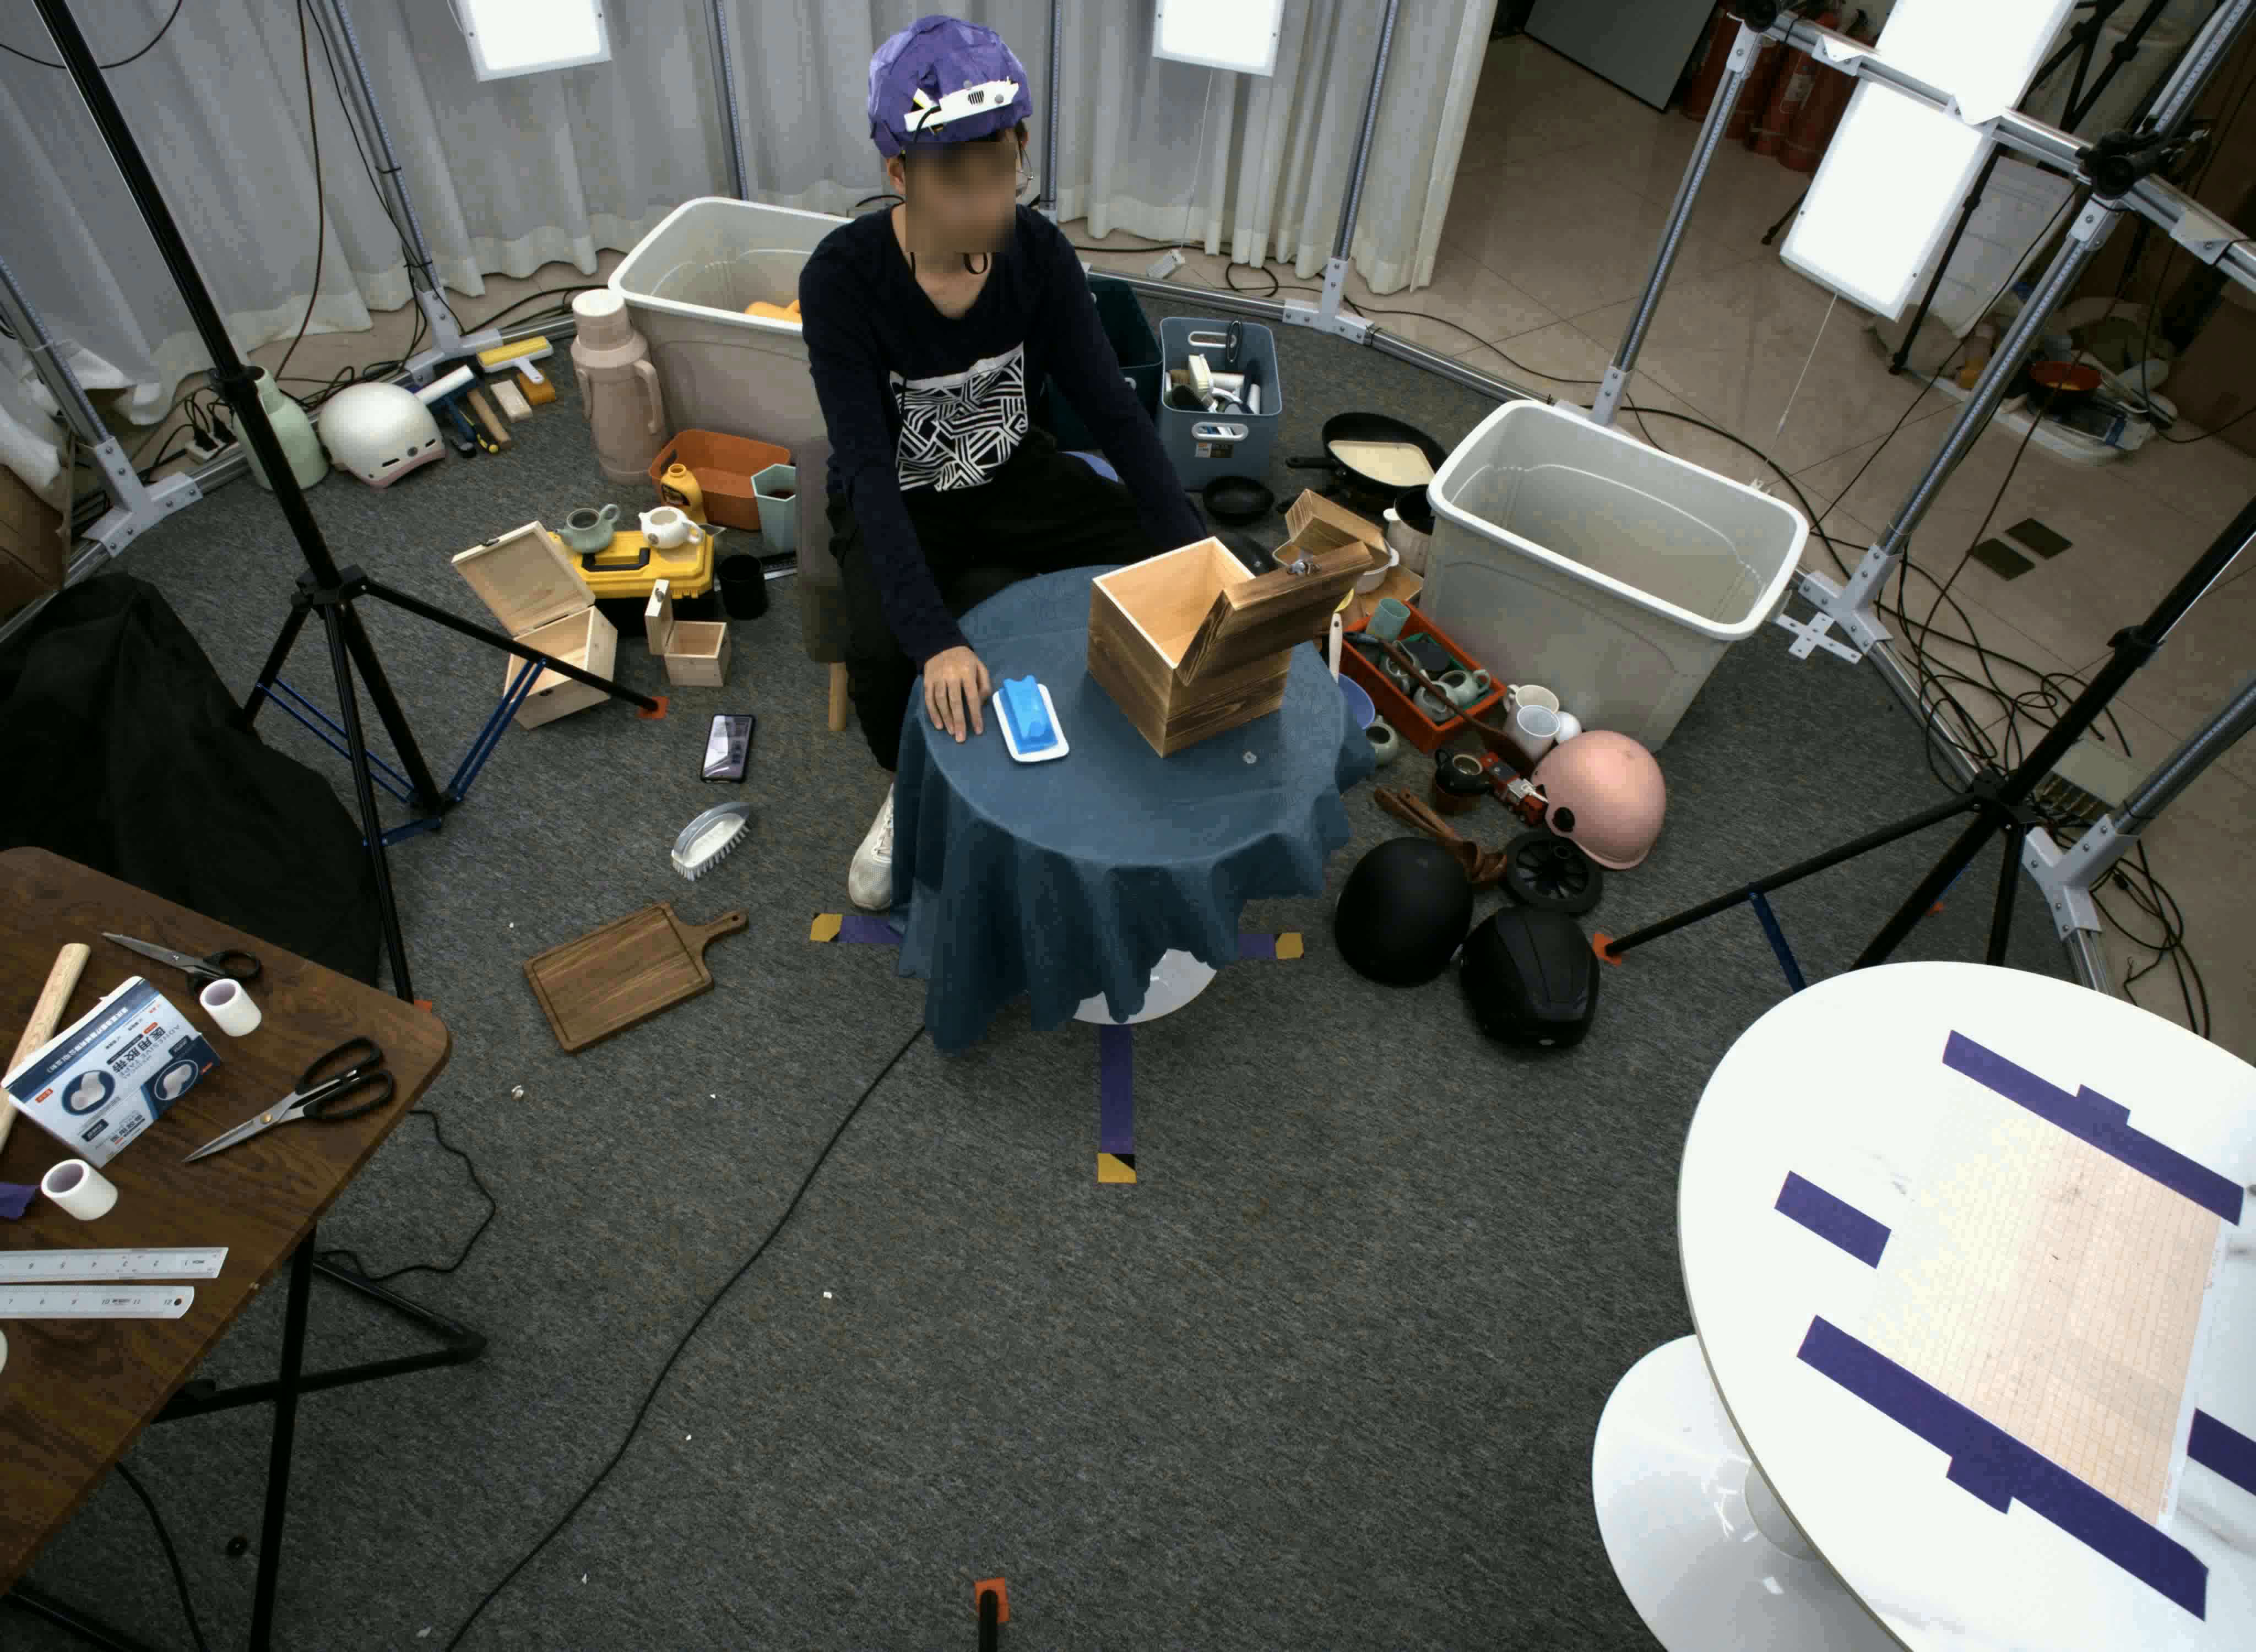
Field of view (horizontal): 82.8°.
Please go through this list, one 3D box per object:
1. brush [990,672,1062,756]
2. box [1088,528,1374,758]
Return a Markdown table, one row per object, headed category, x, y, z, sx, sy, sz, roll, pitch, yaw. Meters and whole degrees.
| category | x | y | z | sx | sy | sz | roll | pitch | yaw |
| --- | --- | --- | --- | --- | --- | --- | --- | --- | --- |
| brush | -0.138 | -0.161 | 1.760 | 0.084 | 0.054 | 0.147 | -7 | 51 | -13 |
| box | 0.117 | -0.279 | 1.684 | 0.209 | 0.366 | 0.329 | -23 | 54 | -23 |
